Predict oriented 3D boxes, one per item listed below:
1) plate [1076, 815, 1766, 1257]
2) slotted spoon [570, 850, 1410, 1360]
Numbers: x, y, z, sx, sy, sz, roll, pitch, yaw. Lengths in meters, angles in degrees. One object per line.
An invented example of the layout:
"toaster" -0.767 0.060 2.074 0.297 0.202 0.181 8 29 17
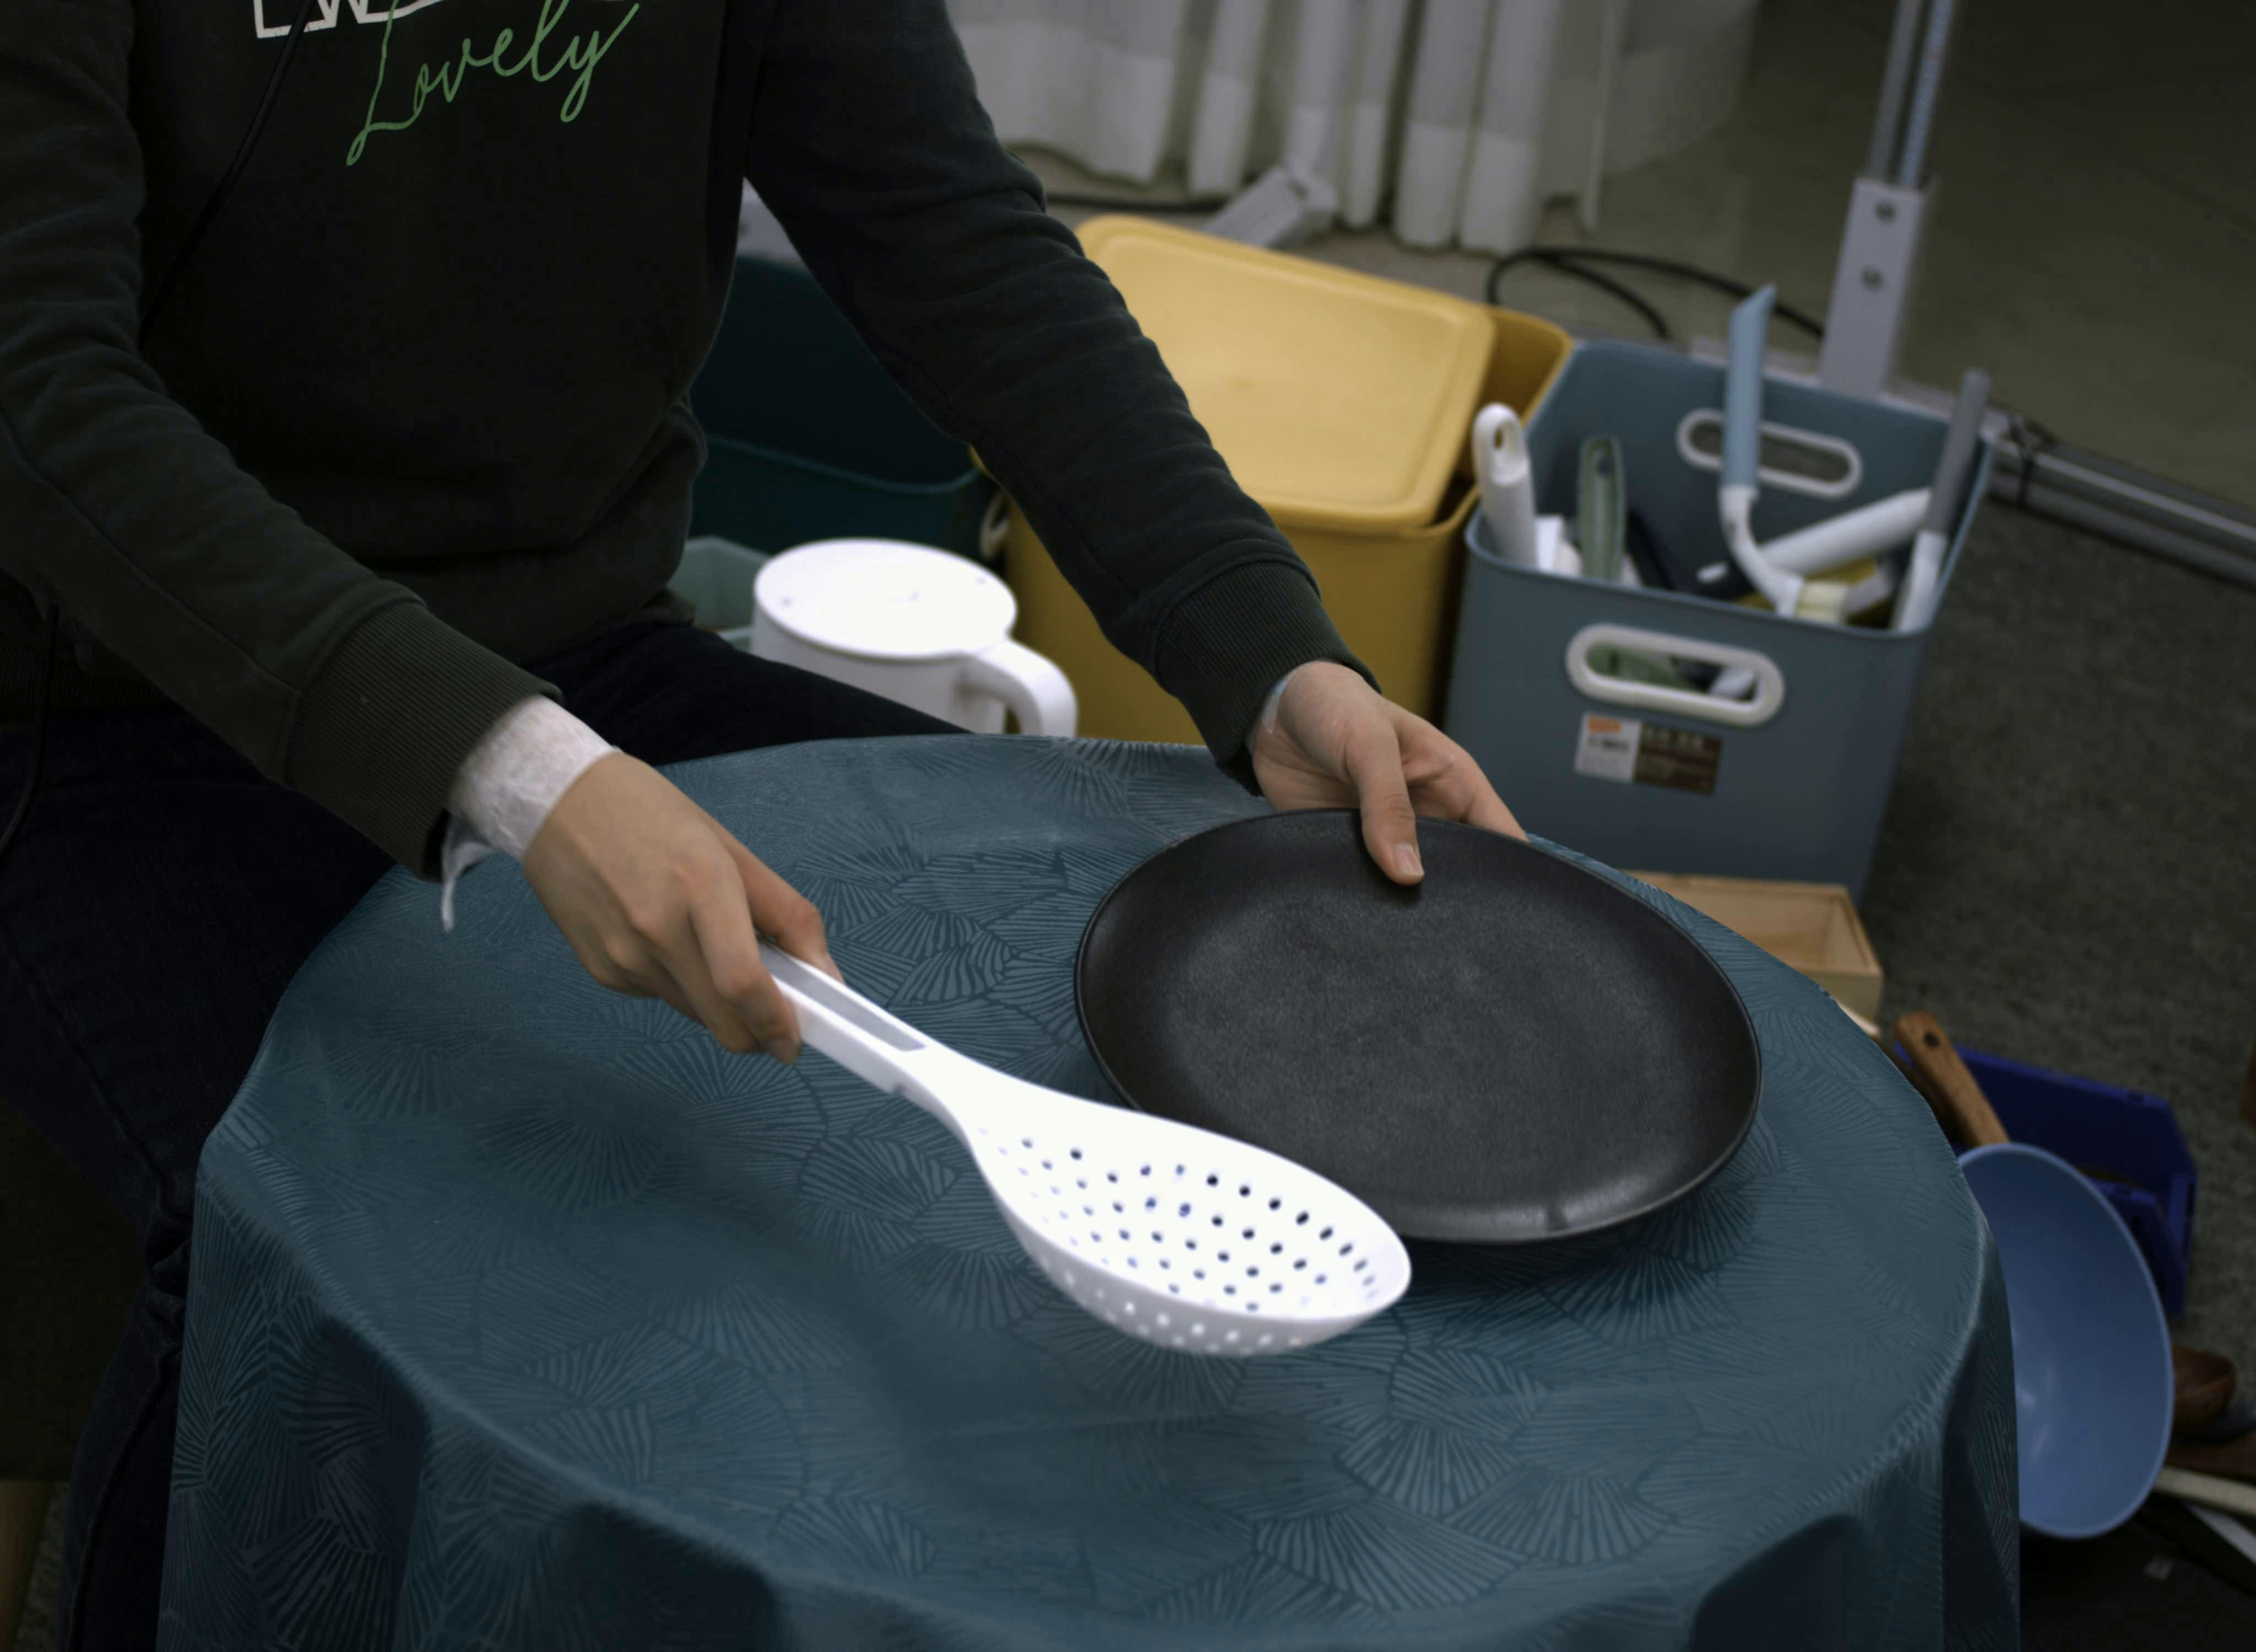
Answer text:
"plate" 0.101 0.075 1.852 0.243 0.023 0.246 6 35 -5
"slotted spoon" -0.058 0.085 1.712 0.352 0.045 0.135 34 25 33
